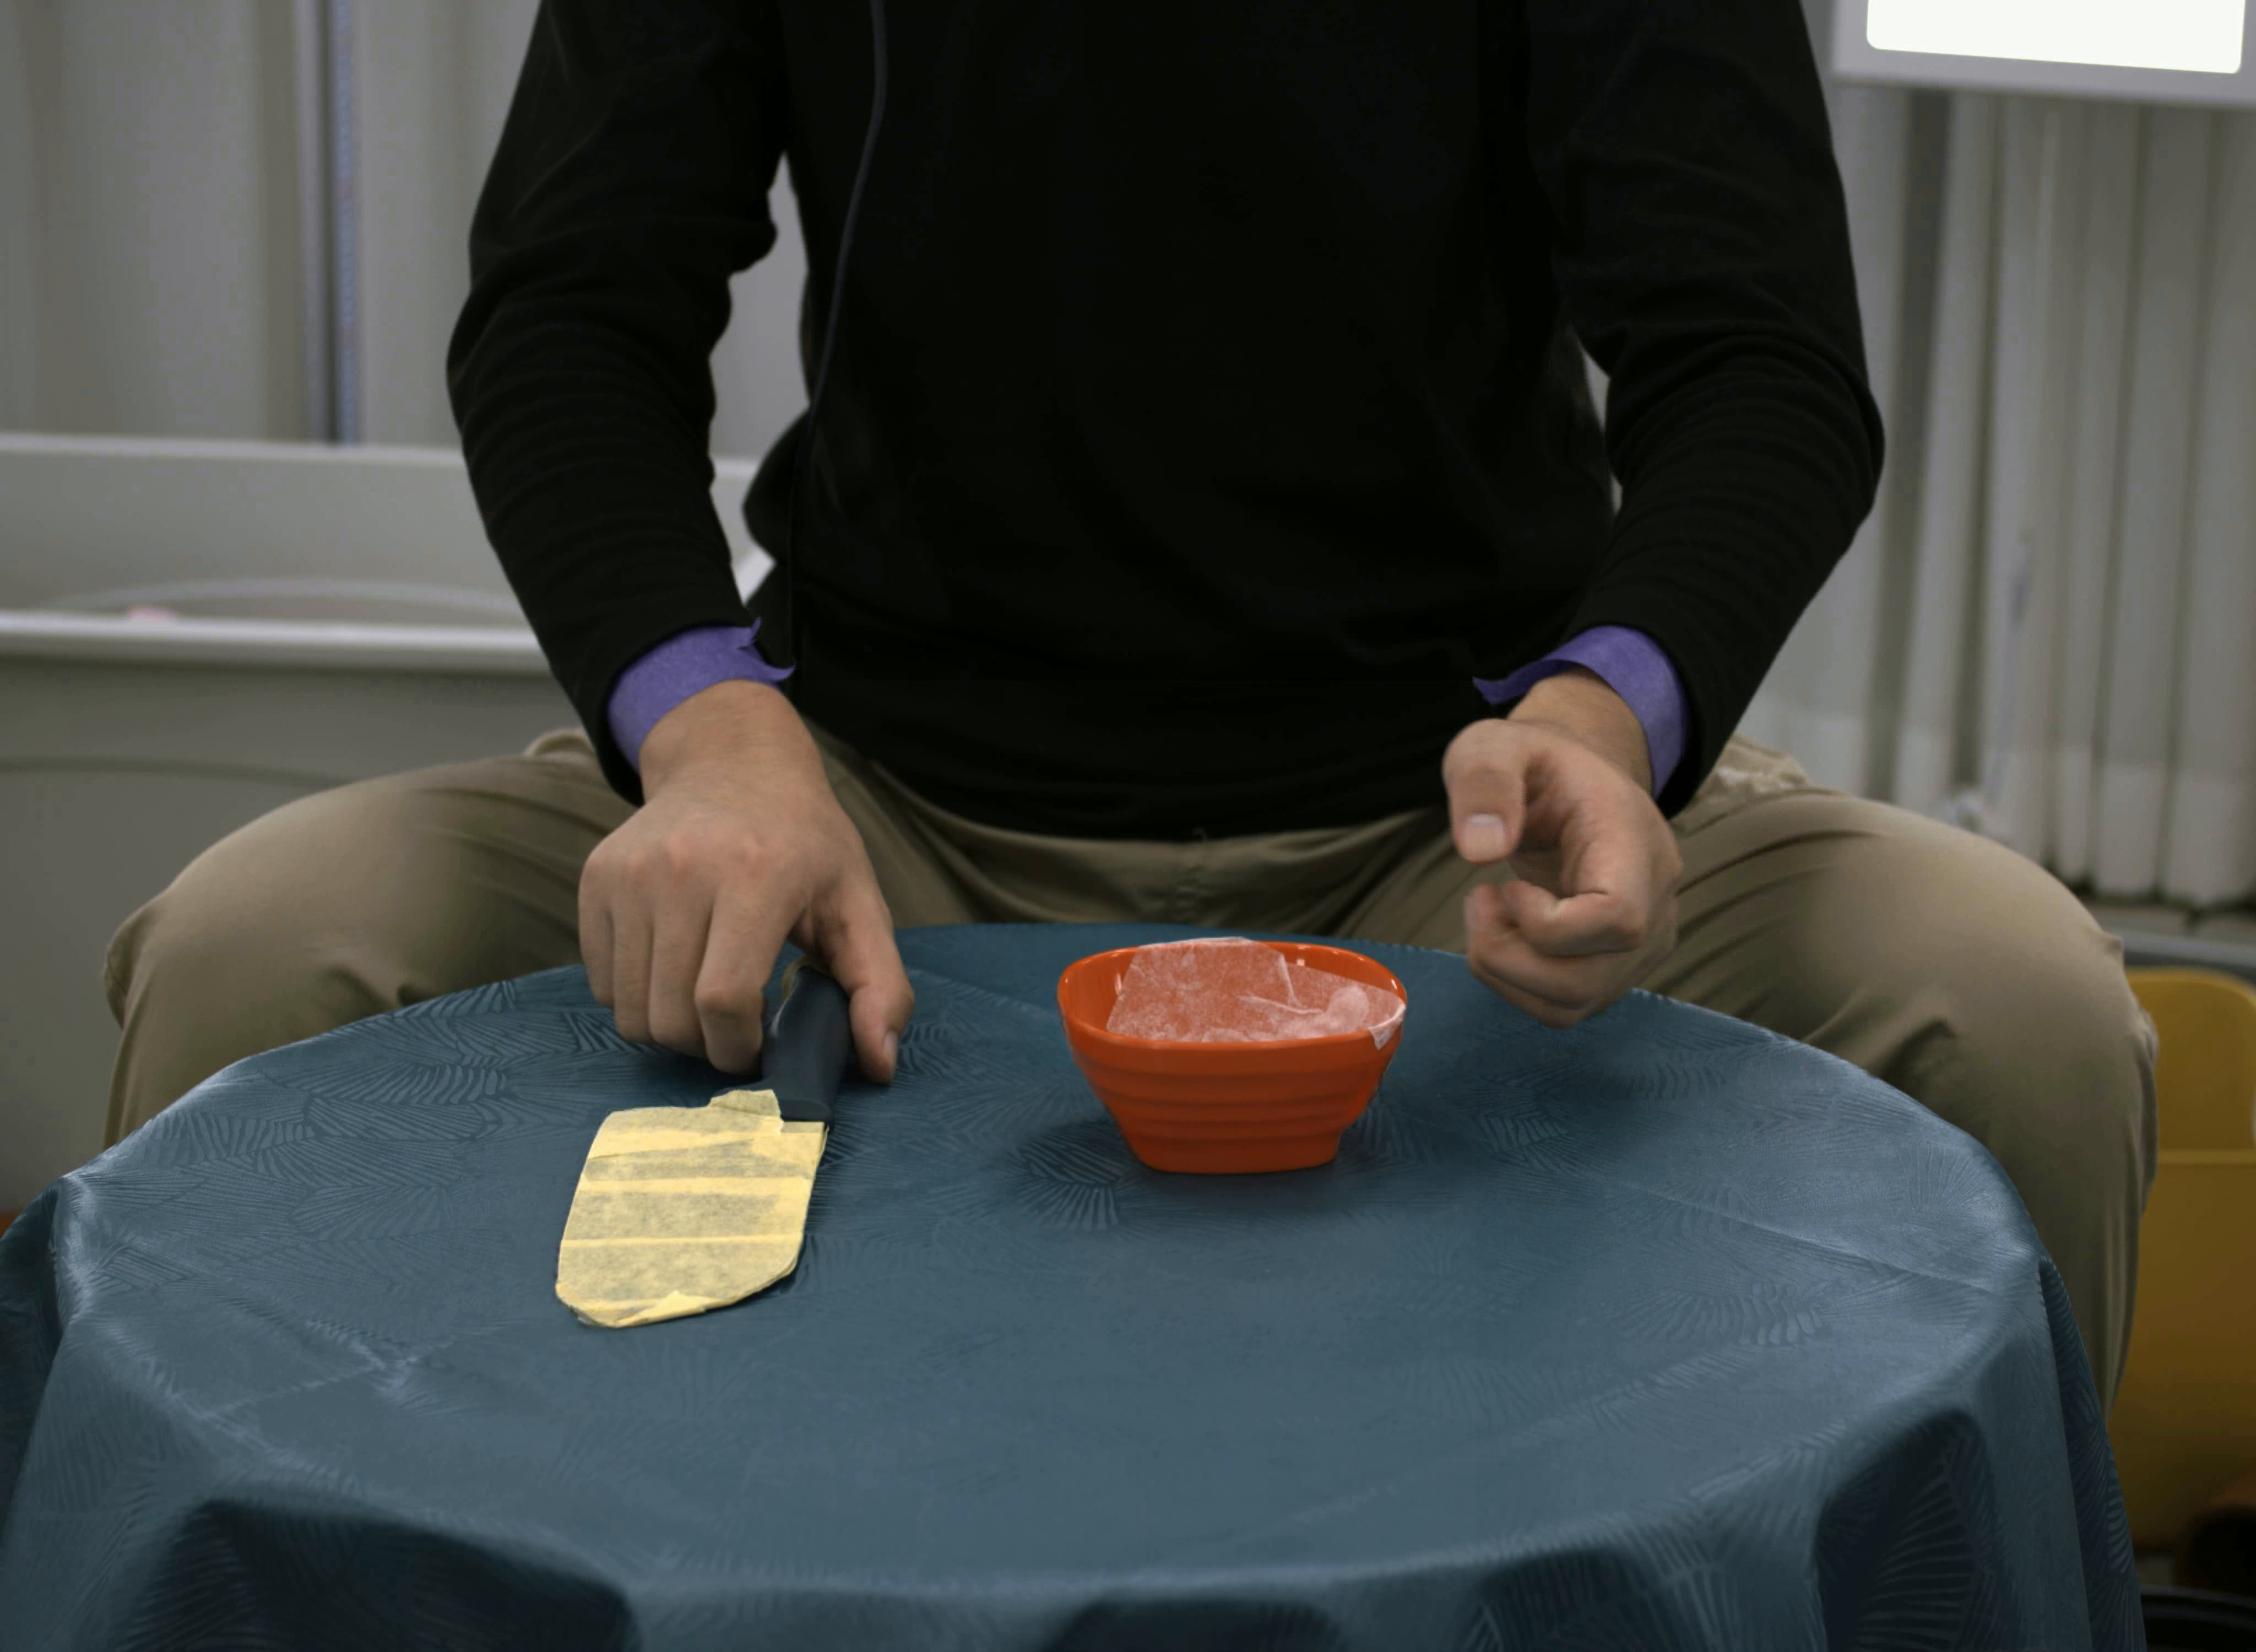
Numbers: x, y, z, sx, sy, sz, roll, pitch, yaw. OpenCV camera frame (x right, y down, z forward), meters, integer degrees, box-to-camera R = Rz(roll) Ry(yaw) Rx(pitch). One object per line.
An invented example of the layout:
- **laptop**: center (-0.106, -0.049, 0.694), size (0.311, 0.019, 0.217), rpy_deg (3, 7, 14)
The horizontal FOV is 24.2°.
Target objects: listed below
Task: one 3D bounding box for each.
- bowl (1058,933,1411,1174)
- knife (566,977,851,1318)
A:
- **bowl**: center (0.033, 0.074, 1.662), size (0.118, 0.052, 0.118), rpy_deg (-1, 17, 1)
- **knife**: center (-0.127, 0.099, 1.639), size (0.080, 0.027, 0.288), rpy_deg (3, 17, 4)
